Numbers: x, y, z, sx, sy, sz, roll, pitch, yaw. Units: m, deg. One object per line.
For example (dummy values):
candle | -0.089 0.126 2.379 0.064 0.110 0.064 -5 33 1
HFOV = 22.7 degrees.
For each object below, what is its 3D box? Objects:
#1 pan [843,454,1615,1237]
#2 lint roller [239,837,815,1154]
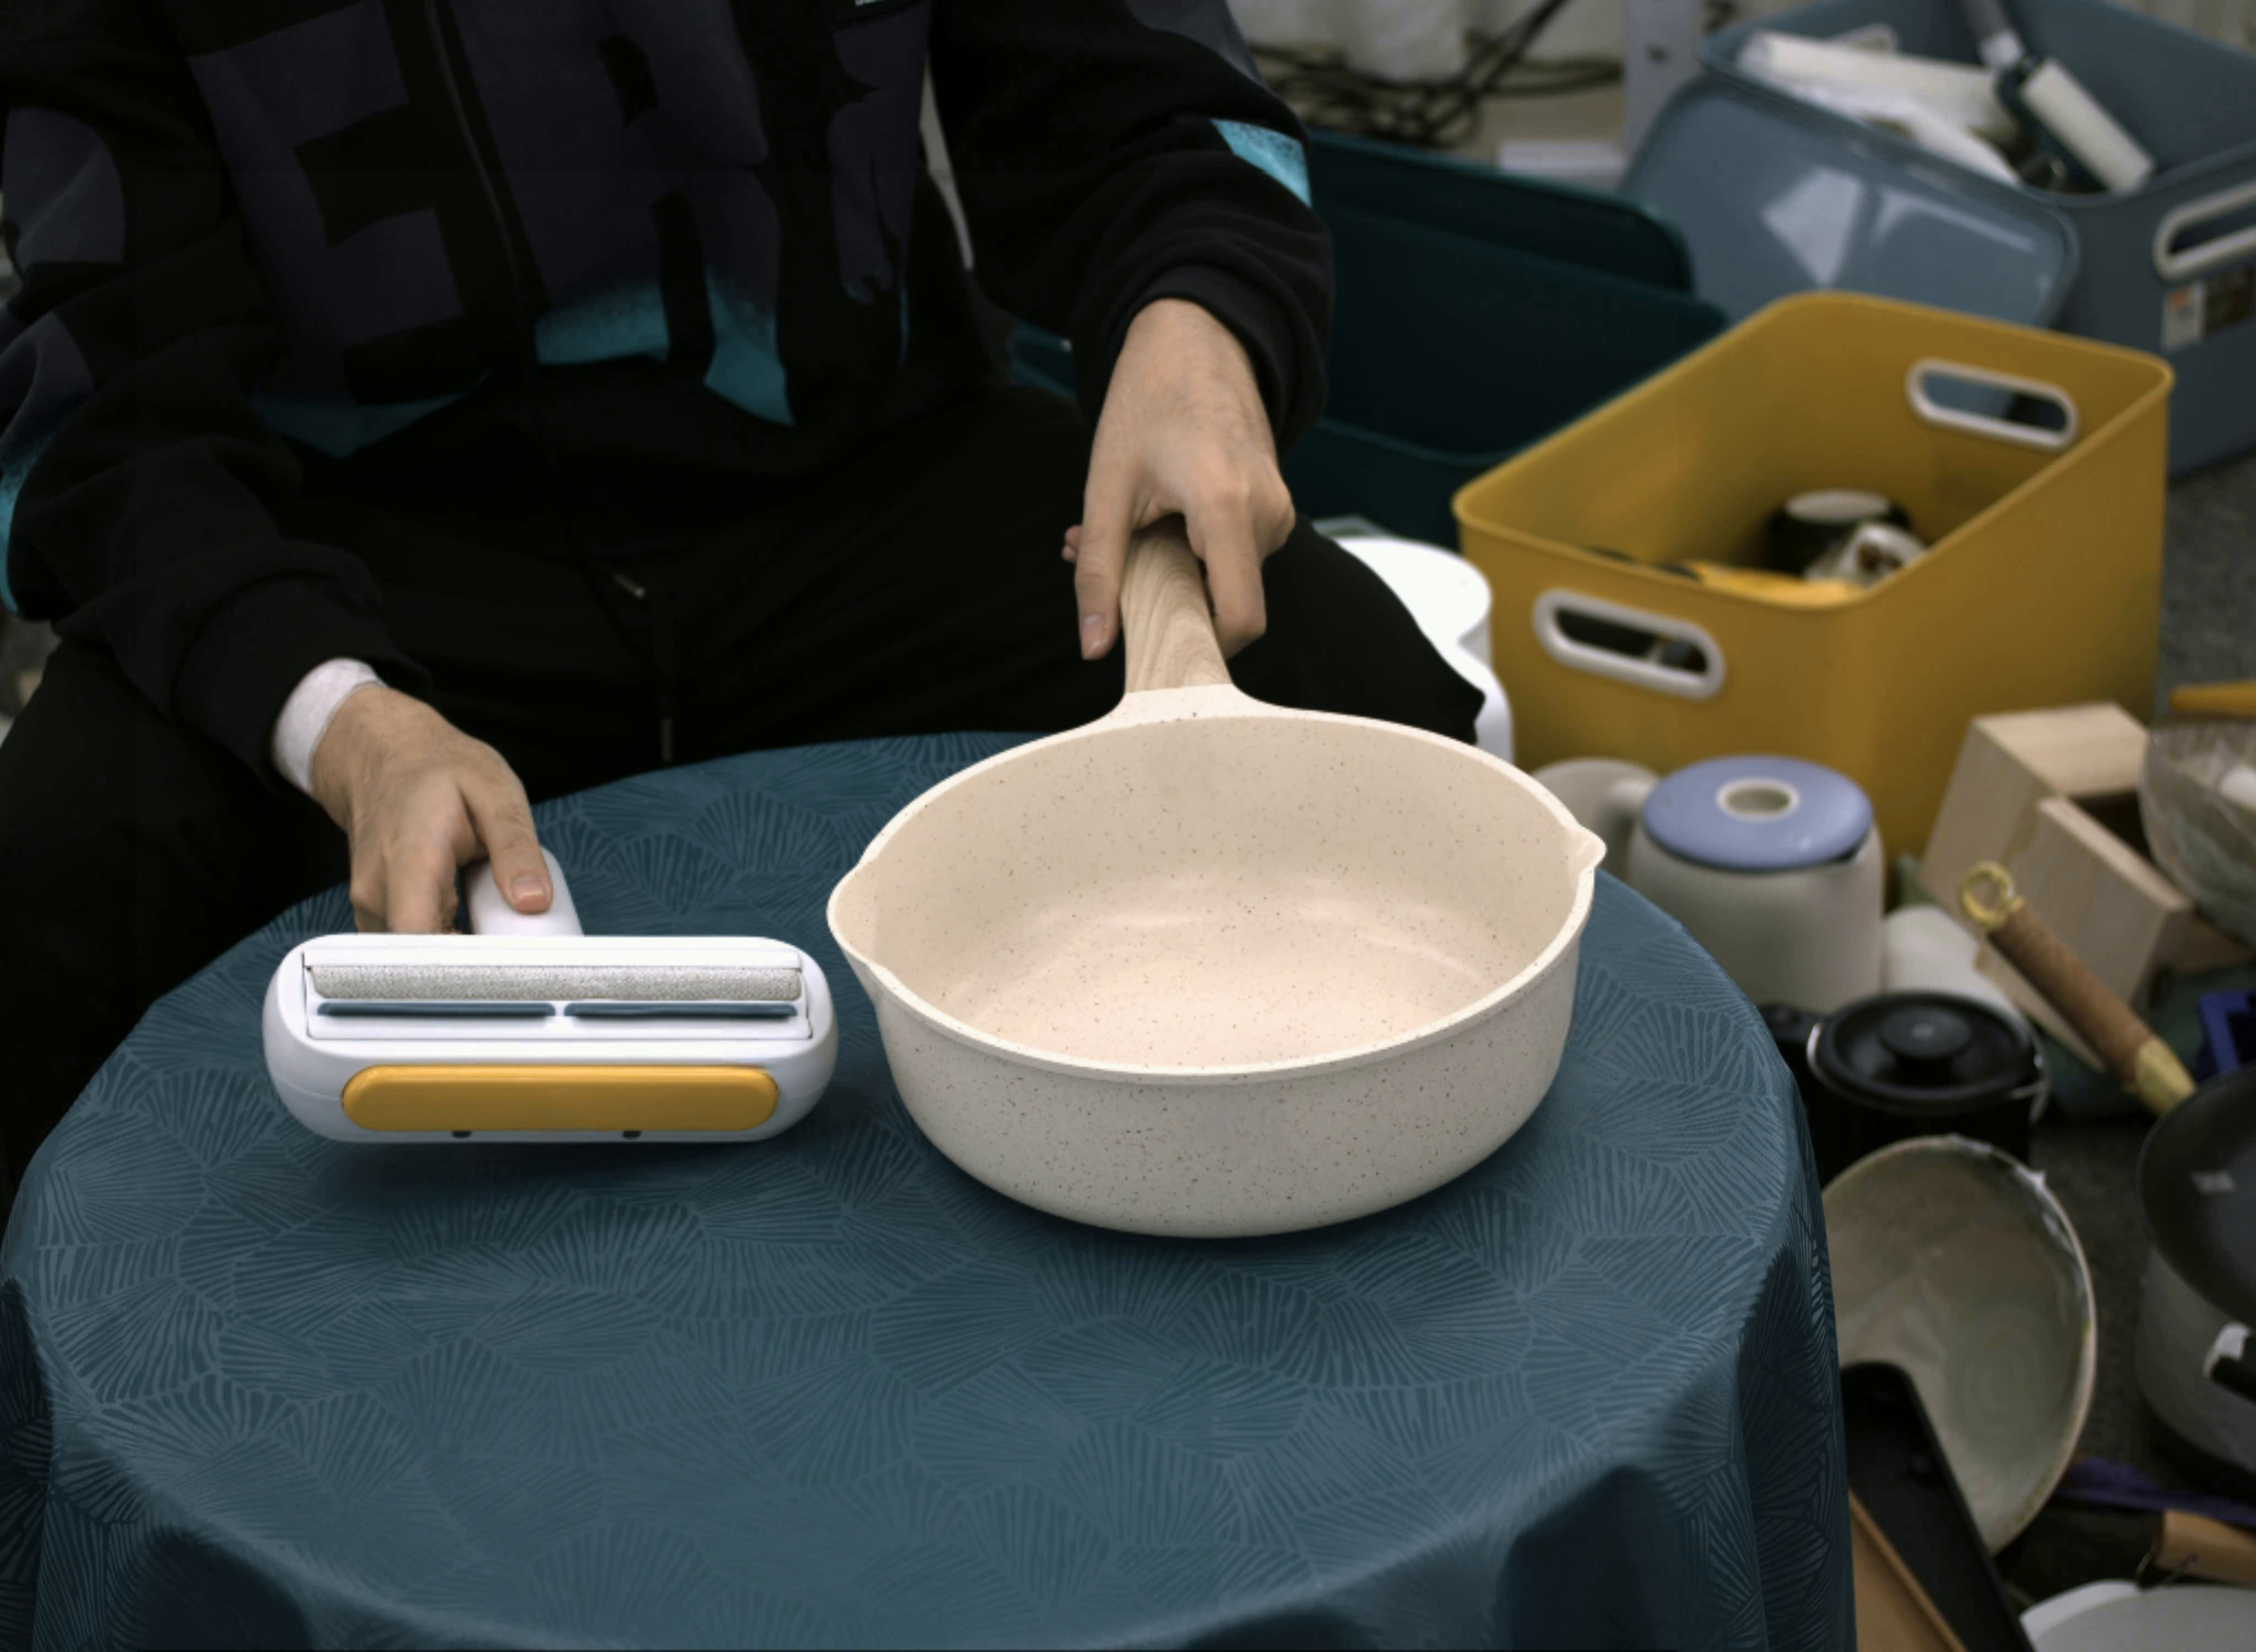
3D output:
pan | 0.028 0.003 1.978 0.262 0.101 0.441 -7 28 -3
lint roller | -0.208 0.047 1.938 0.192 0.073 0.195 -1 32 -8
